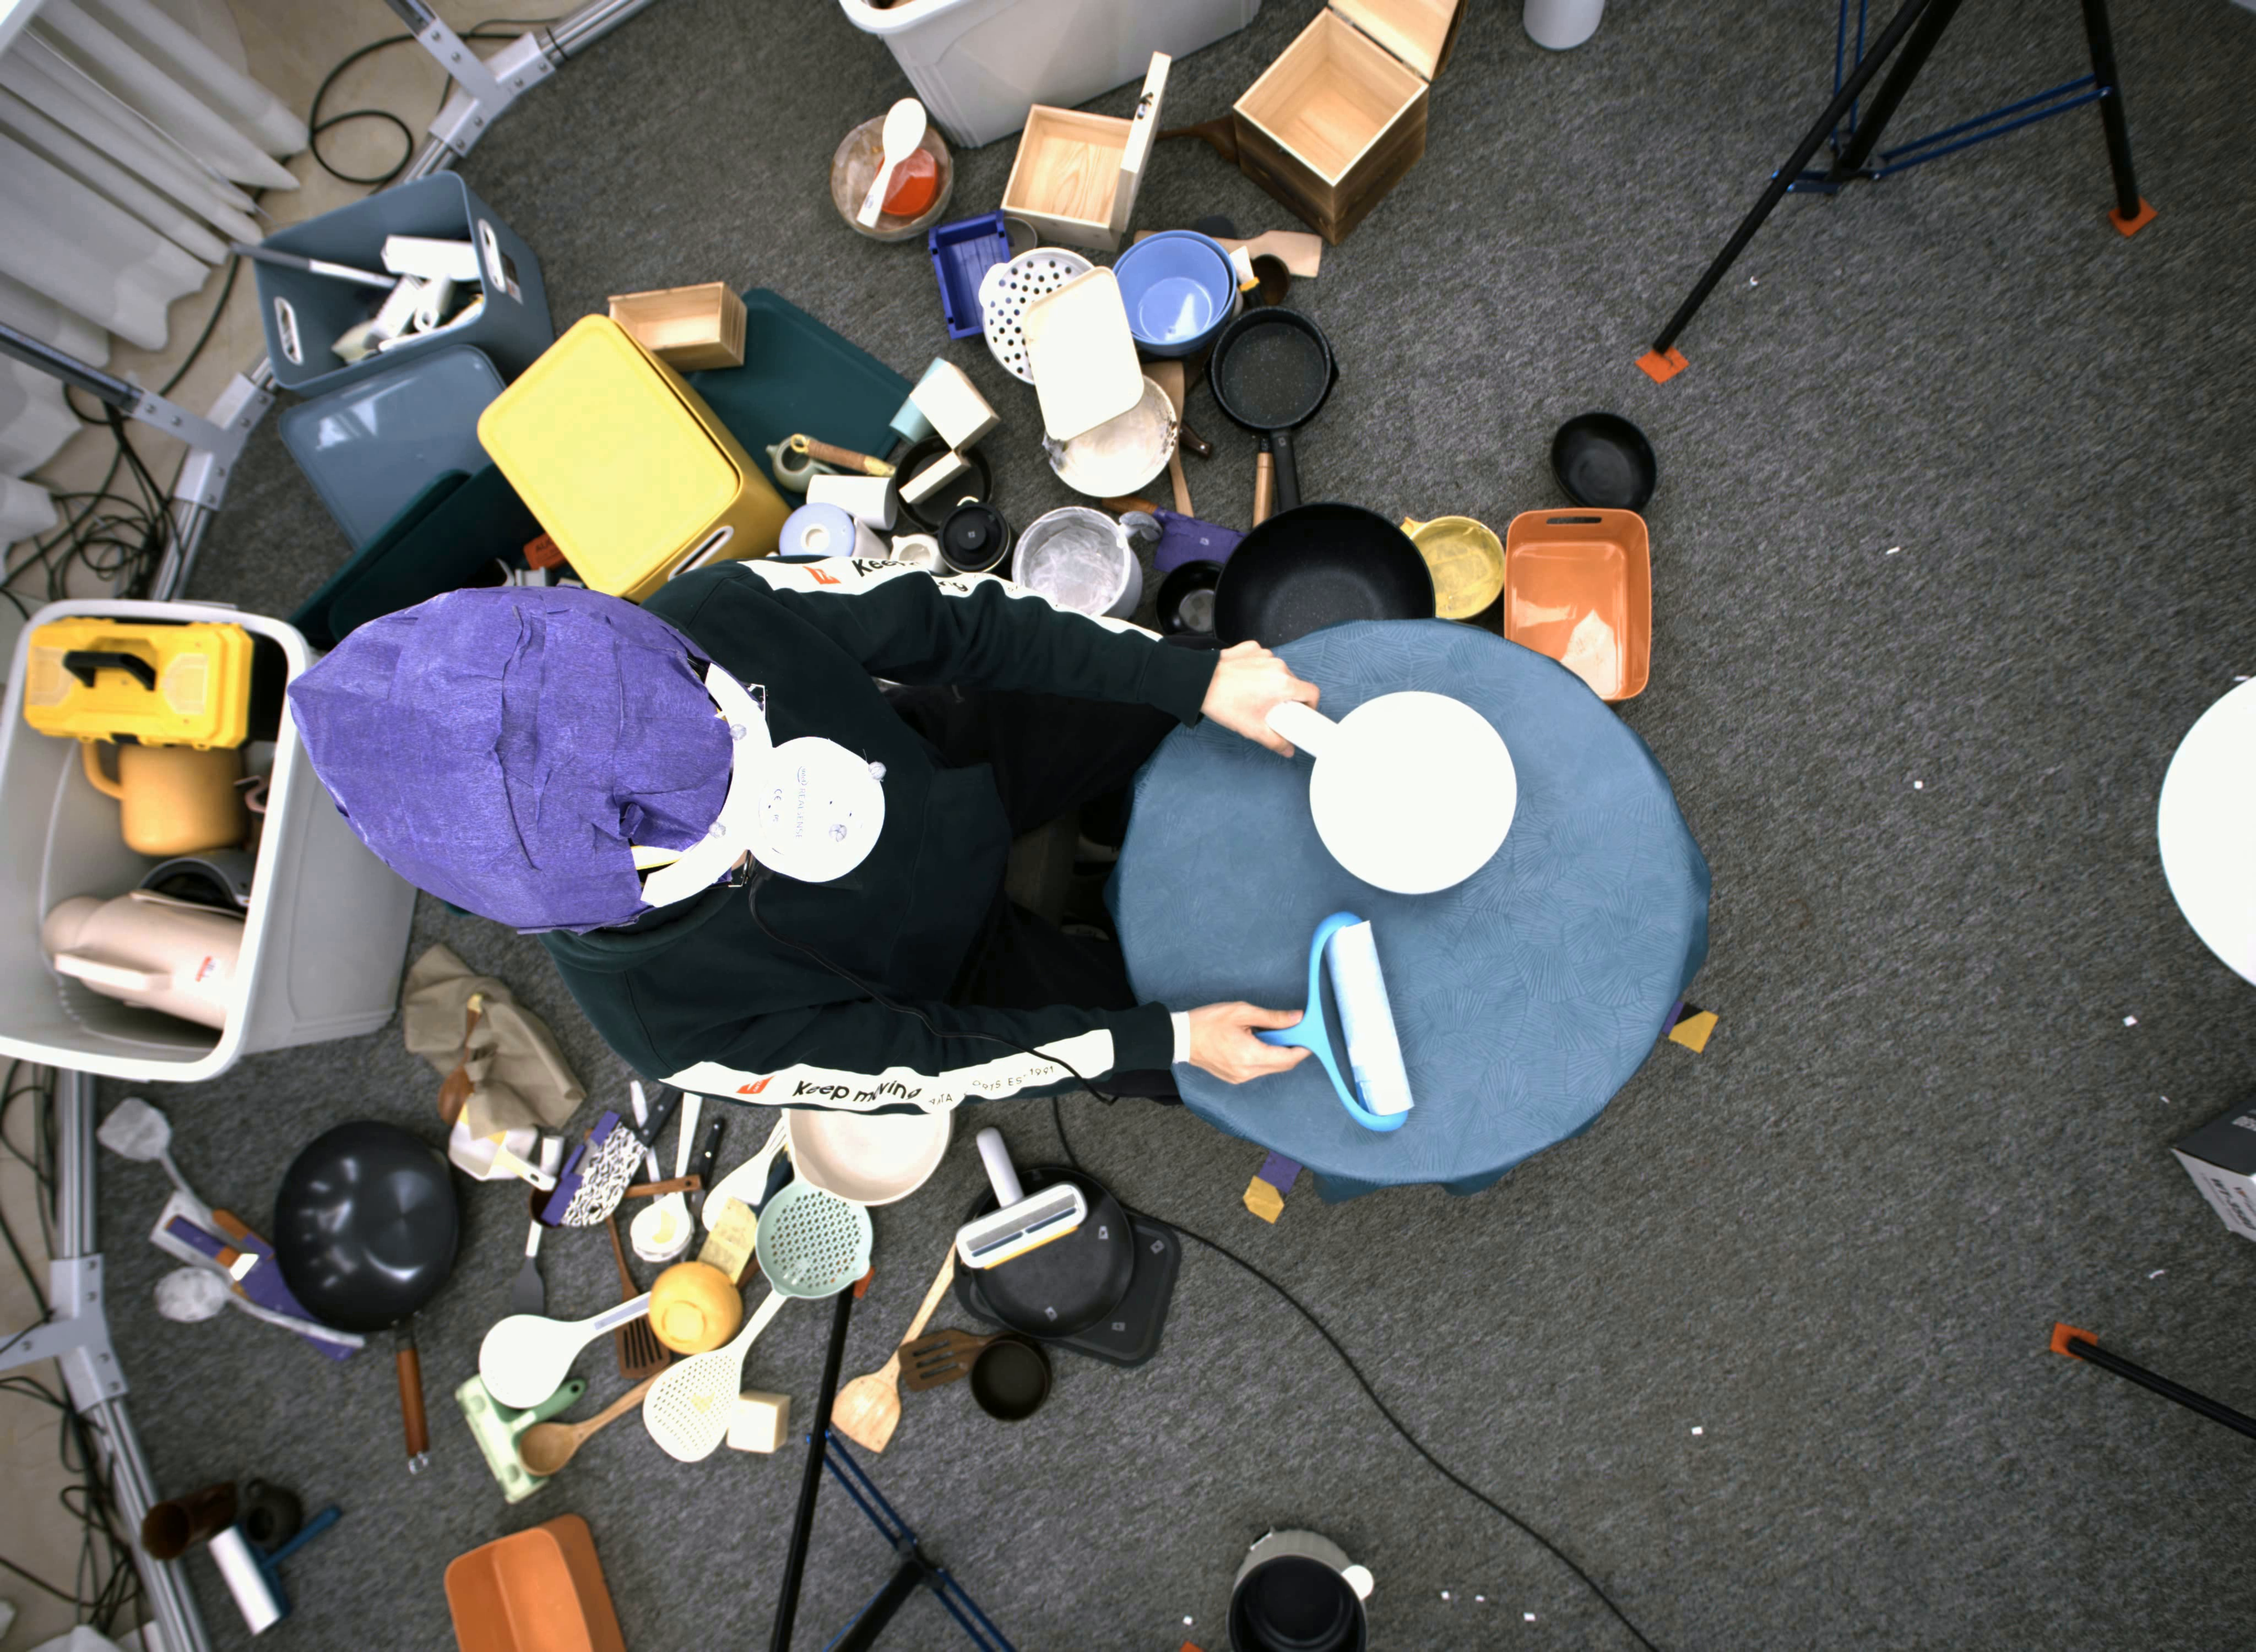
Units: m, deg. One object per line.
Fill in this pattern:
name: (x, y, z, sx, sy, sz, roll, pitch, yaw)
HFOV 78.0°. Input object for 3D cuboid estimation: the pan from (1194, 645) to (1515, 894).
pan: (0.228, -0.072, 1.422, 0.353, 0.102, 0.202, 33, 93, 15)

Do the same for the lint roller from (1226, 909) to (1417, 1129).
lint roller: (0.190, 0.213, 1.429, 0.181, 0.068, 0.228, -16, 86, 4)
